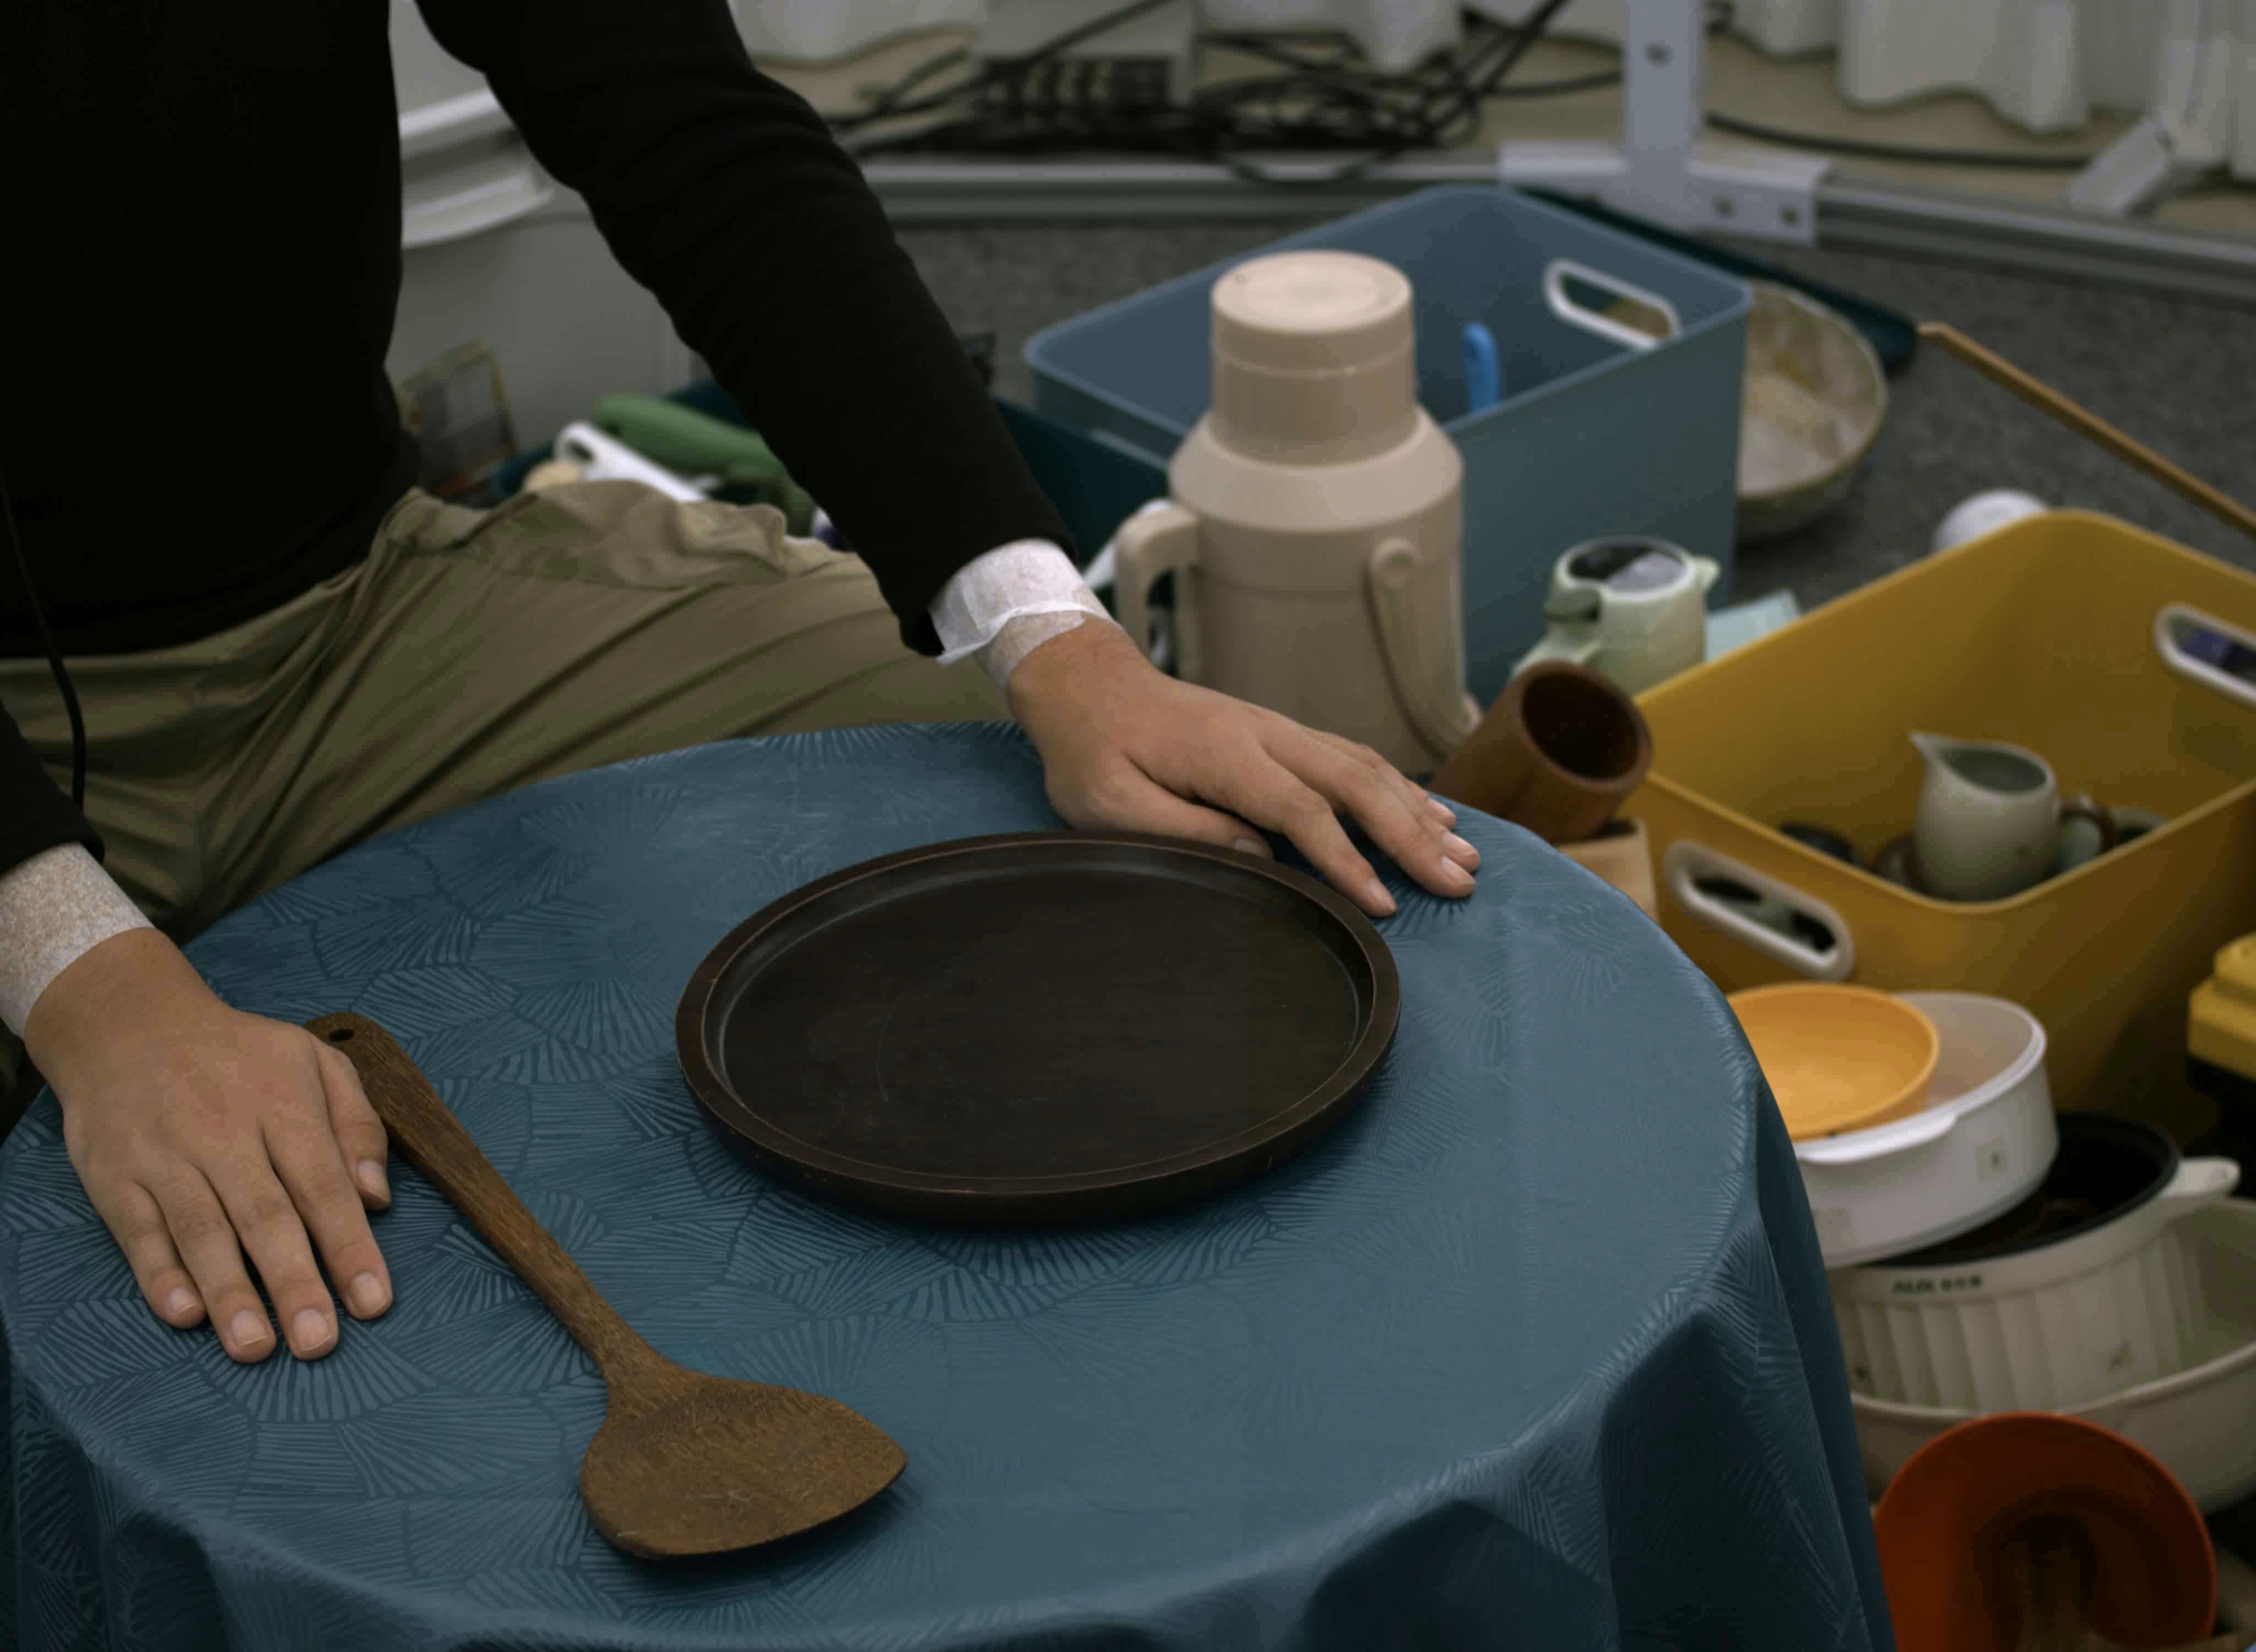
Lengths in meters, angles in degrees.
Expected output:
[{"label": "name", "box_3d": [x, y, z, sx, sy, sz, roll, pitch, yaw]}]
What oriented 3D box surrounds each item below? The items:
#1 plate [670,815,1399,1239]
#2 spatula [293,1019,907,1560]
[{"label": "plate", "box_3d": [-0.032, 0.070, 1.941, 0.253, 0.029, 0.259, -2, 29, 2]}, {"label": "spatula", "box_3d": [-0.193, 0.141, 1.826, 0.096, 0.015, 0.387, -16, 30, -25]}]
